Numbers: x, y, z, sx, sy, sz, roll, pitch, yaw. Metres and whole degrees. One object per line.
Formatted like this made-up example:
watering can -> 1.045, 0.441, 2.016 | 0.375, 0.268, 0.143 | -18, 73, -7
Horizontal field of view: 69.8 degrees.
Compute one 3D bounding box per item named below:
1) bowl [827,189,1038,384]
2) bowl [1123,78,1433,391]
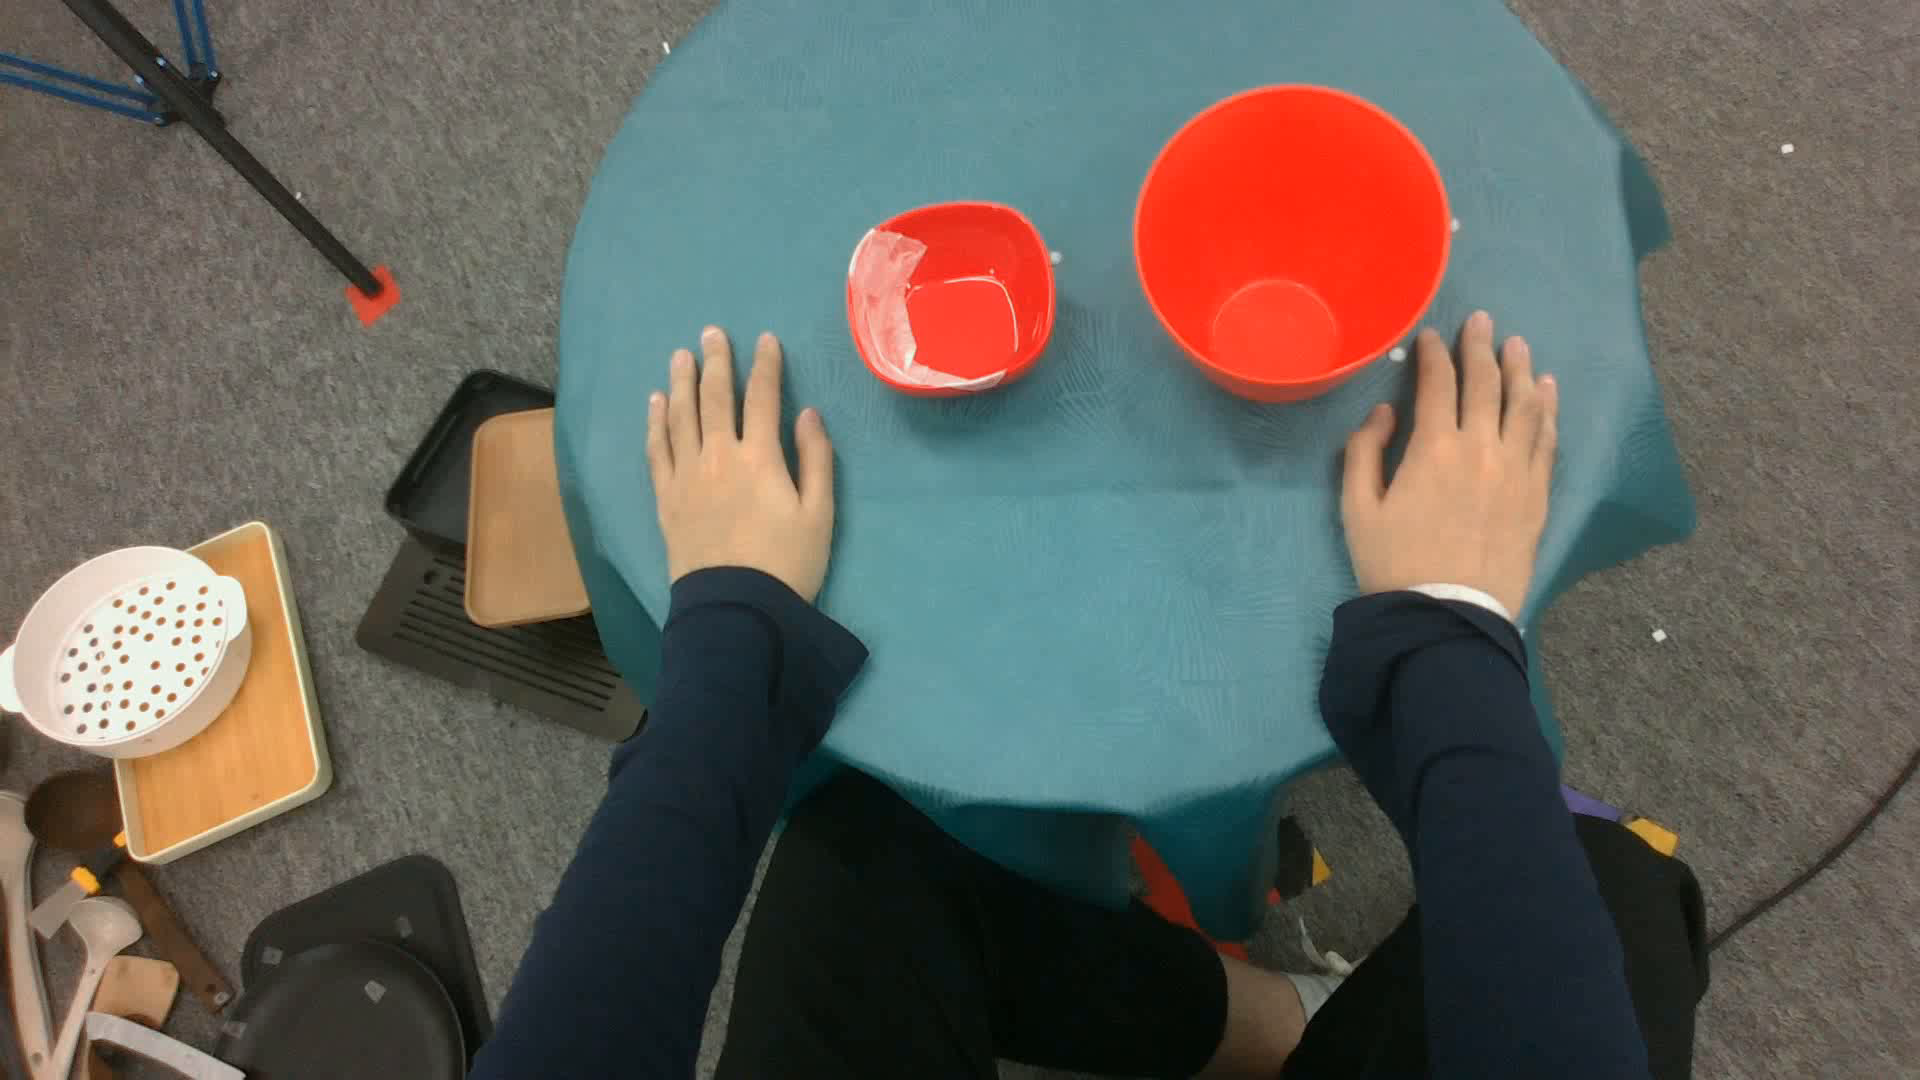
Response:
bowl -> -0.013, -0.128, 0.744 | 0.119, 0.051, 0.119 | -2, 70, 5
bowl -> 0.157, -0.141, 0.702 | 0.148, 0.104, 0.148 | -2, 70, 5
